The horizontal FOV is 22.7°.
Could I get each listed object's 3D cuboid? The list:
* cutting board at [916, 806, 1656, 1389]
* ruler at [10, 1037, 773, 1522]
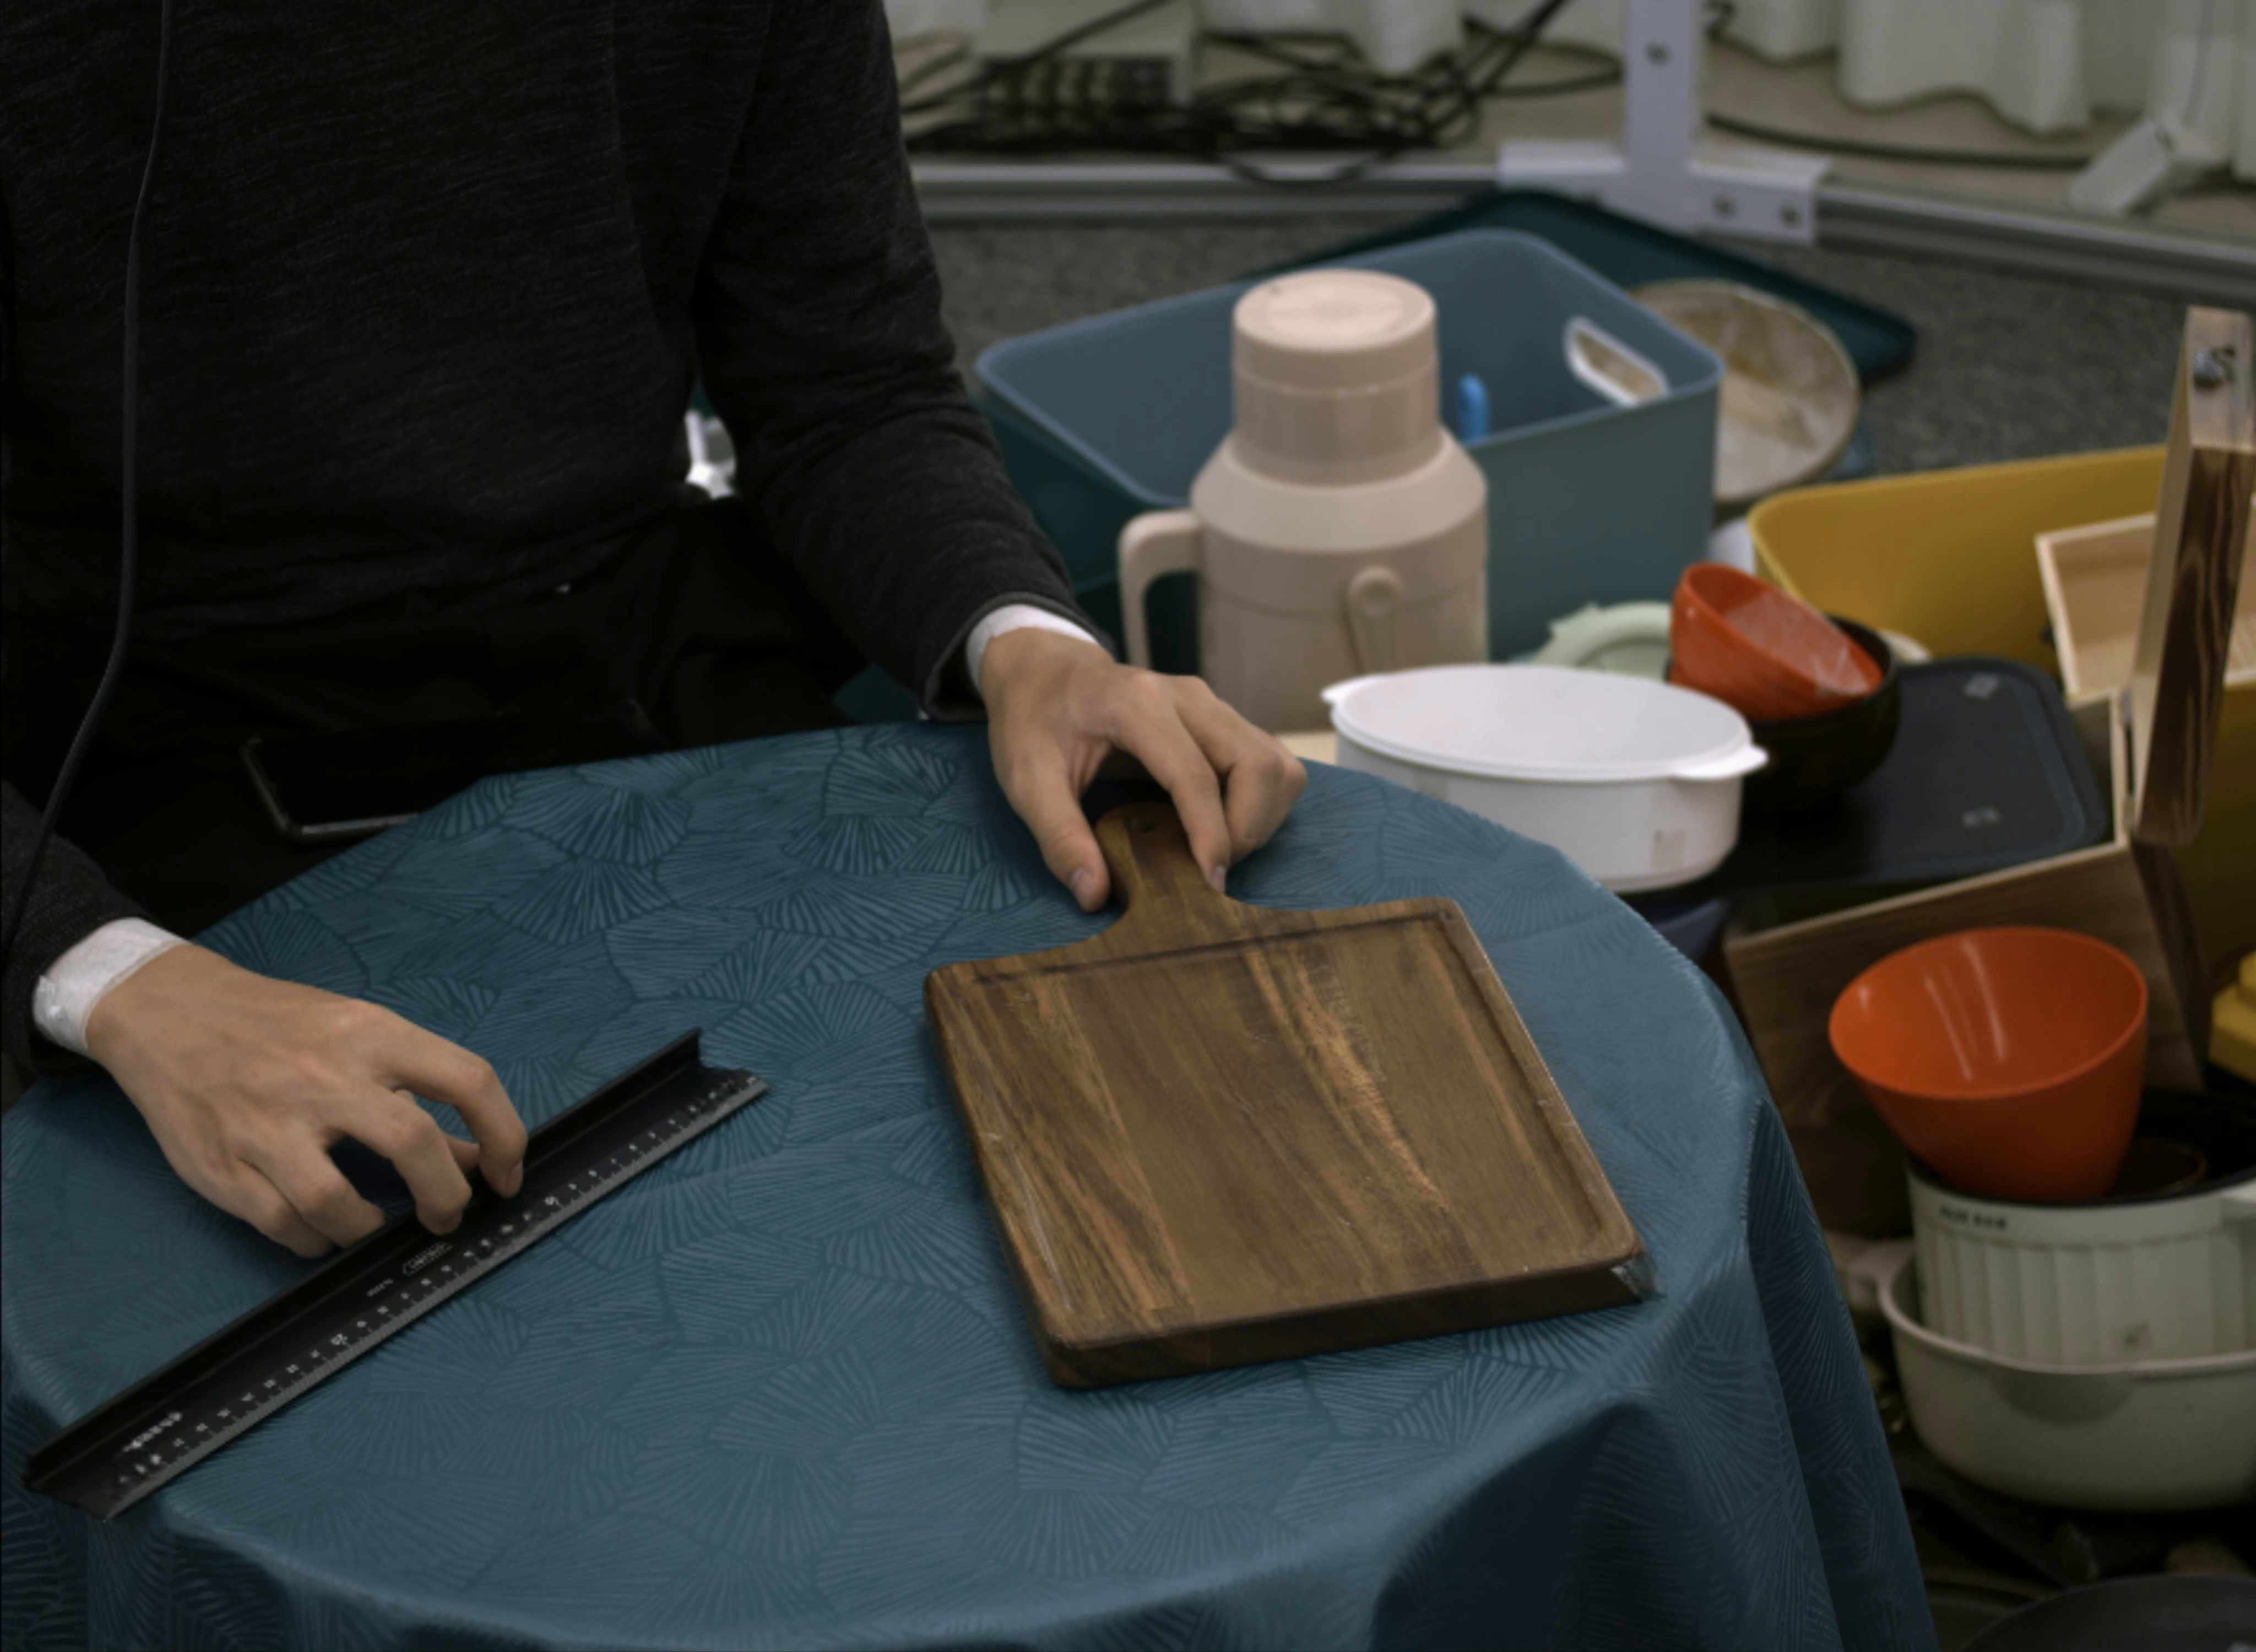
[{"bbox_3d":[0.037,0.078,1.918,0.201,0.023,0.356,-8,27,-9],"label":"cutting board"},{"bbox_3d":[-0.232,0.142,1.827,0.039,0.017,0.317,18,34,34],"label":"ruler"}]
